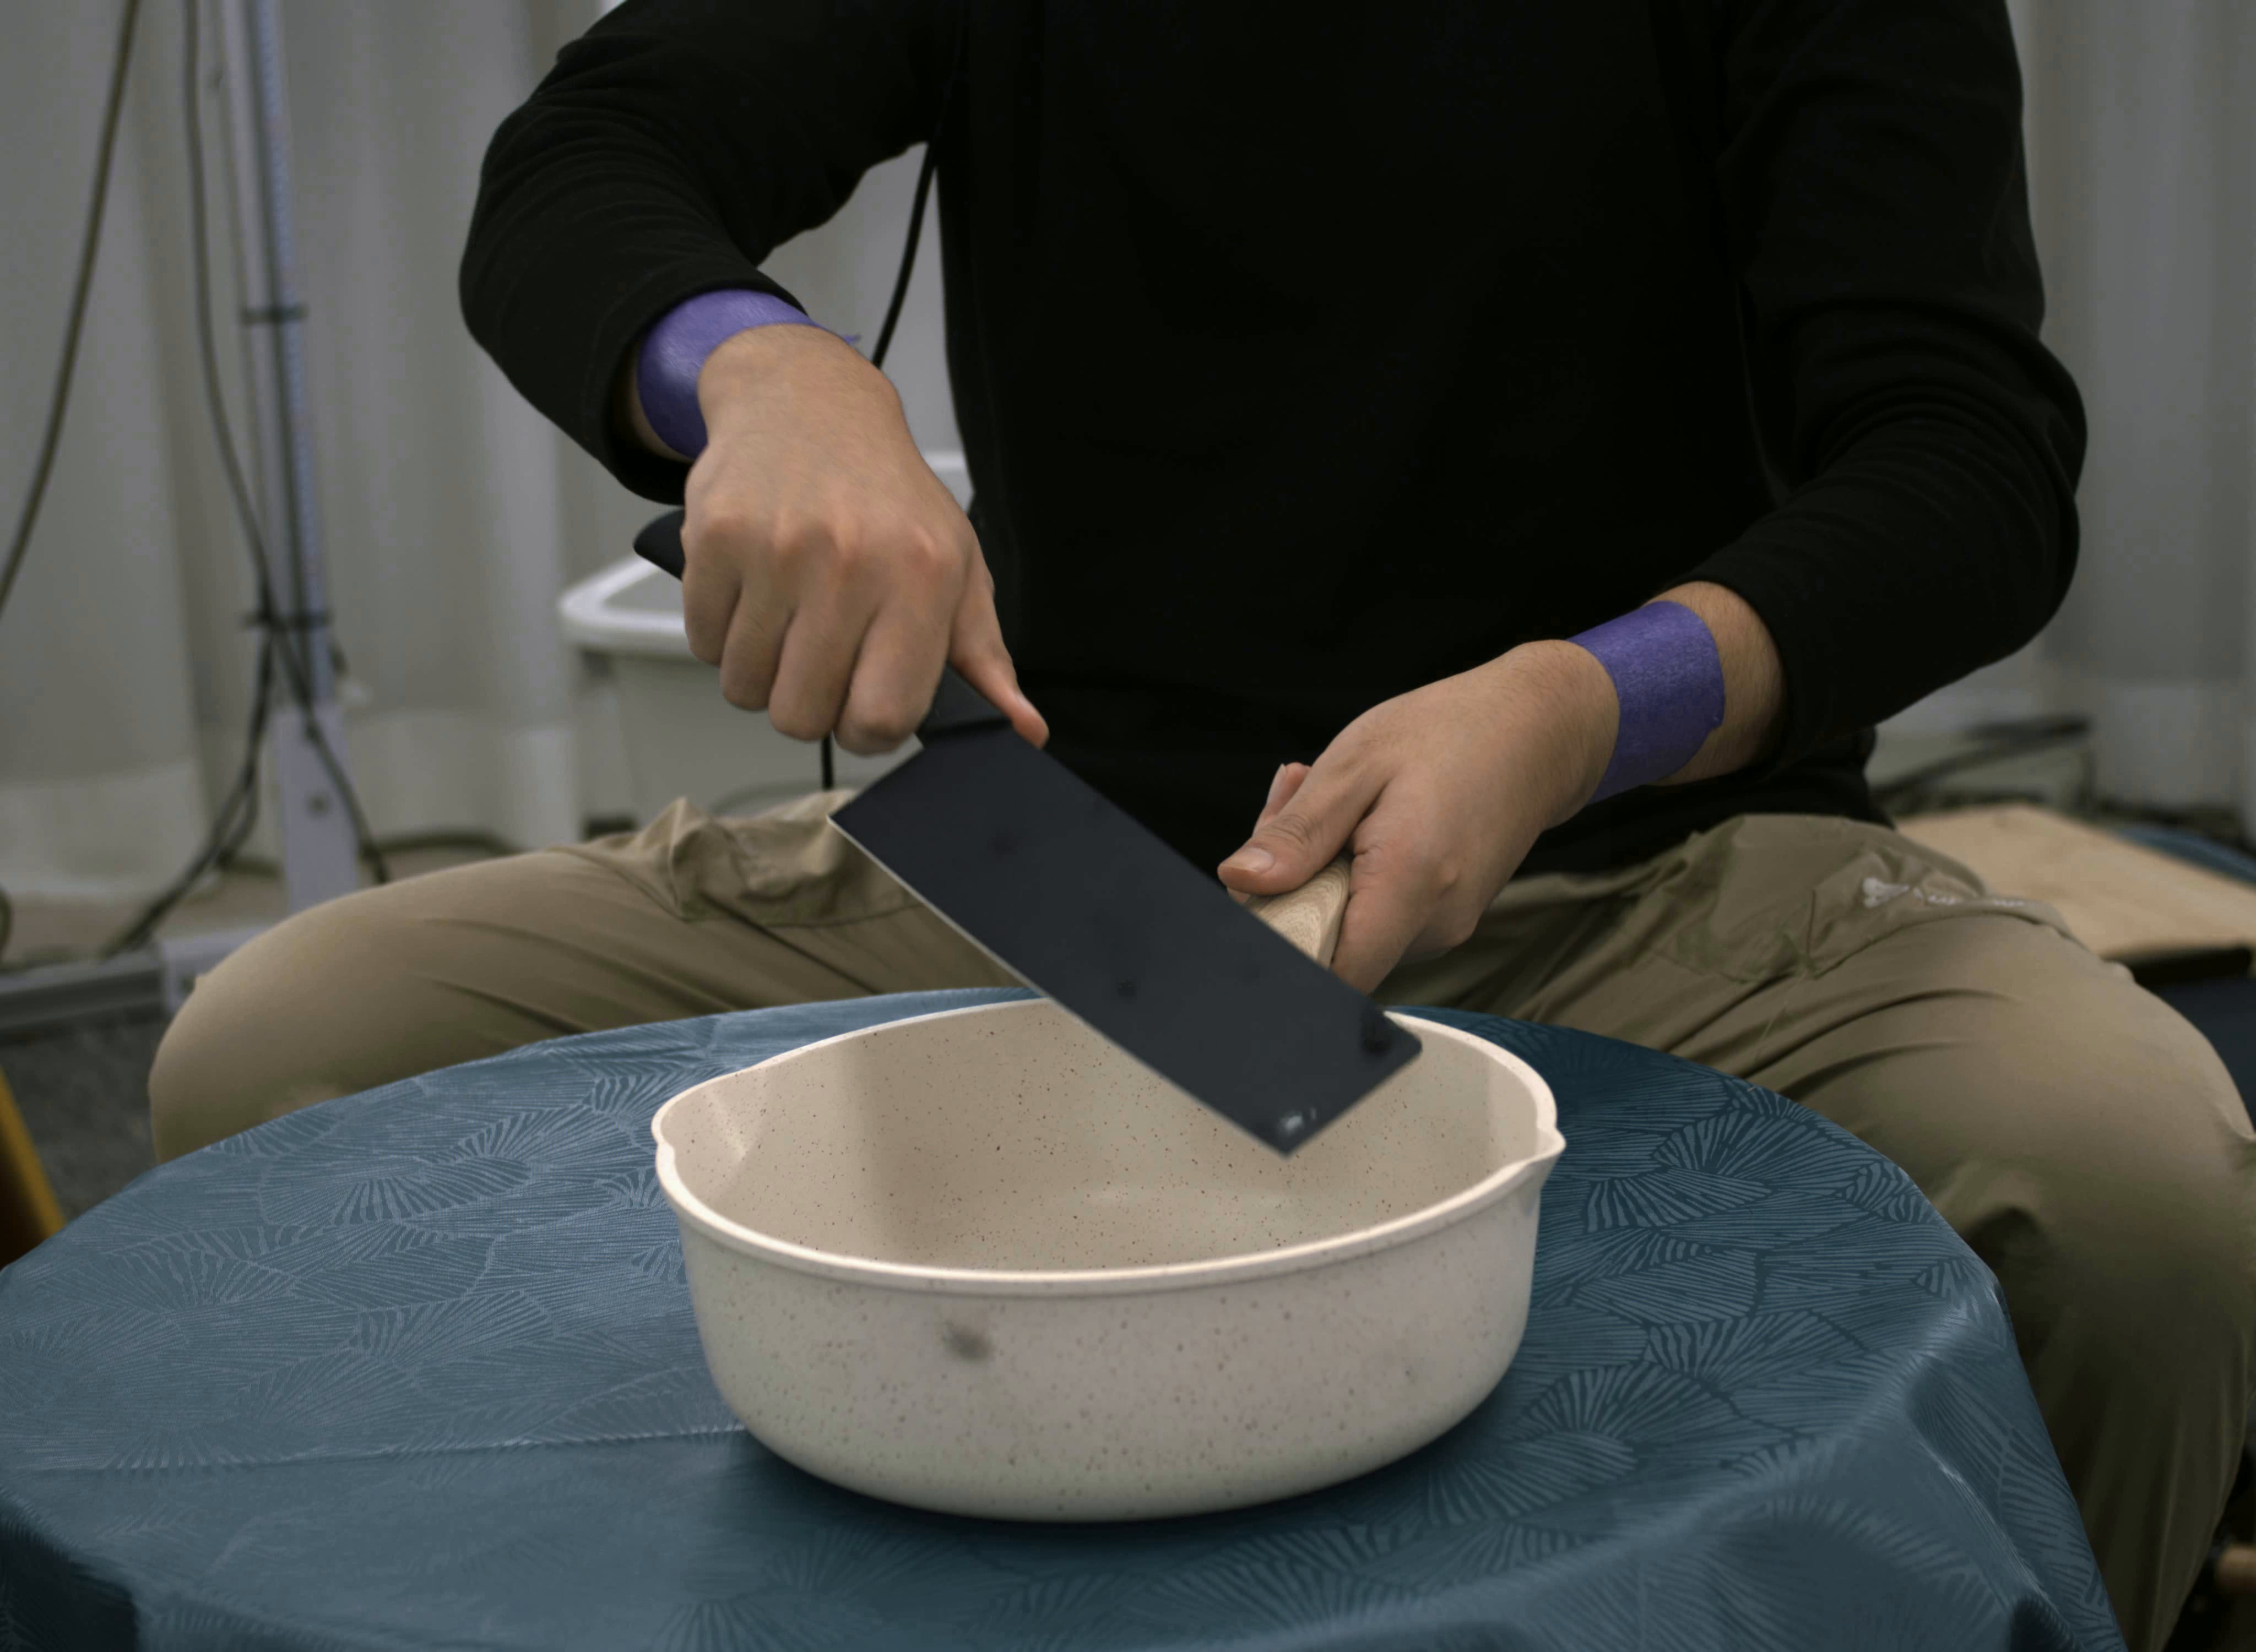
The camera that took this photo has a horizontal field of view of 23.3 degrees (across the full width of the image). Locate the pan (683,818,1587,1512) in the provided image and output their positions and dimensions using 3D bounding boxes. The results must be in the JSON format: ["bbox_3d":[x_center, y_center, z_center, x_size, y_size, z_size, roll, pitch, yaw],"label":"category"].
[{"bbox_3d":[0.034,0.095,1.615,0.263,0.102,0.436,-1,13,20],"label":"pan"}]

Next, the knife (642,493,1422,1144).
[{"bbox_3d":[-0.040,-0.008,1.604,0.081,0.020,0.305,-30,56,-28],"label":"knife"}]
